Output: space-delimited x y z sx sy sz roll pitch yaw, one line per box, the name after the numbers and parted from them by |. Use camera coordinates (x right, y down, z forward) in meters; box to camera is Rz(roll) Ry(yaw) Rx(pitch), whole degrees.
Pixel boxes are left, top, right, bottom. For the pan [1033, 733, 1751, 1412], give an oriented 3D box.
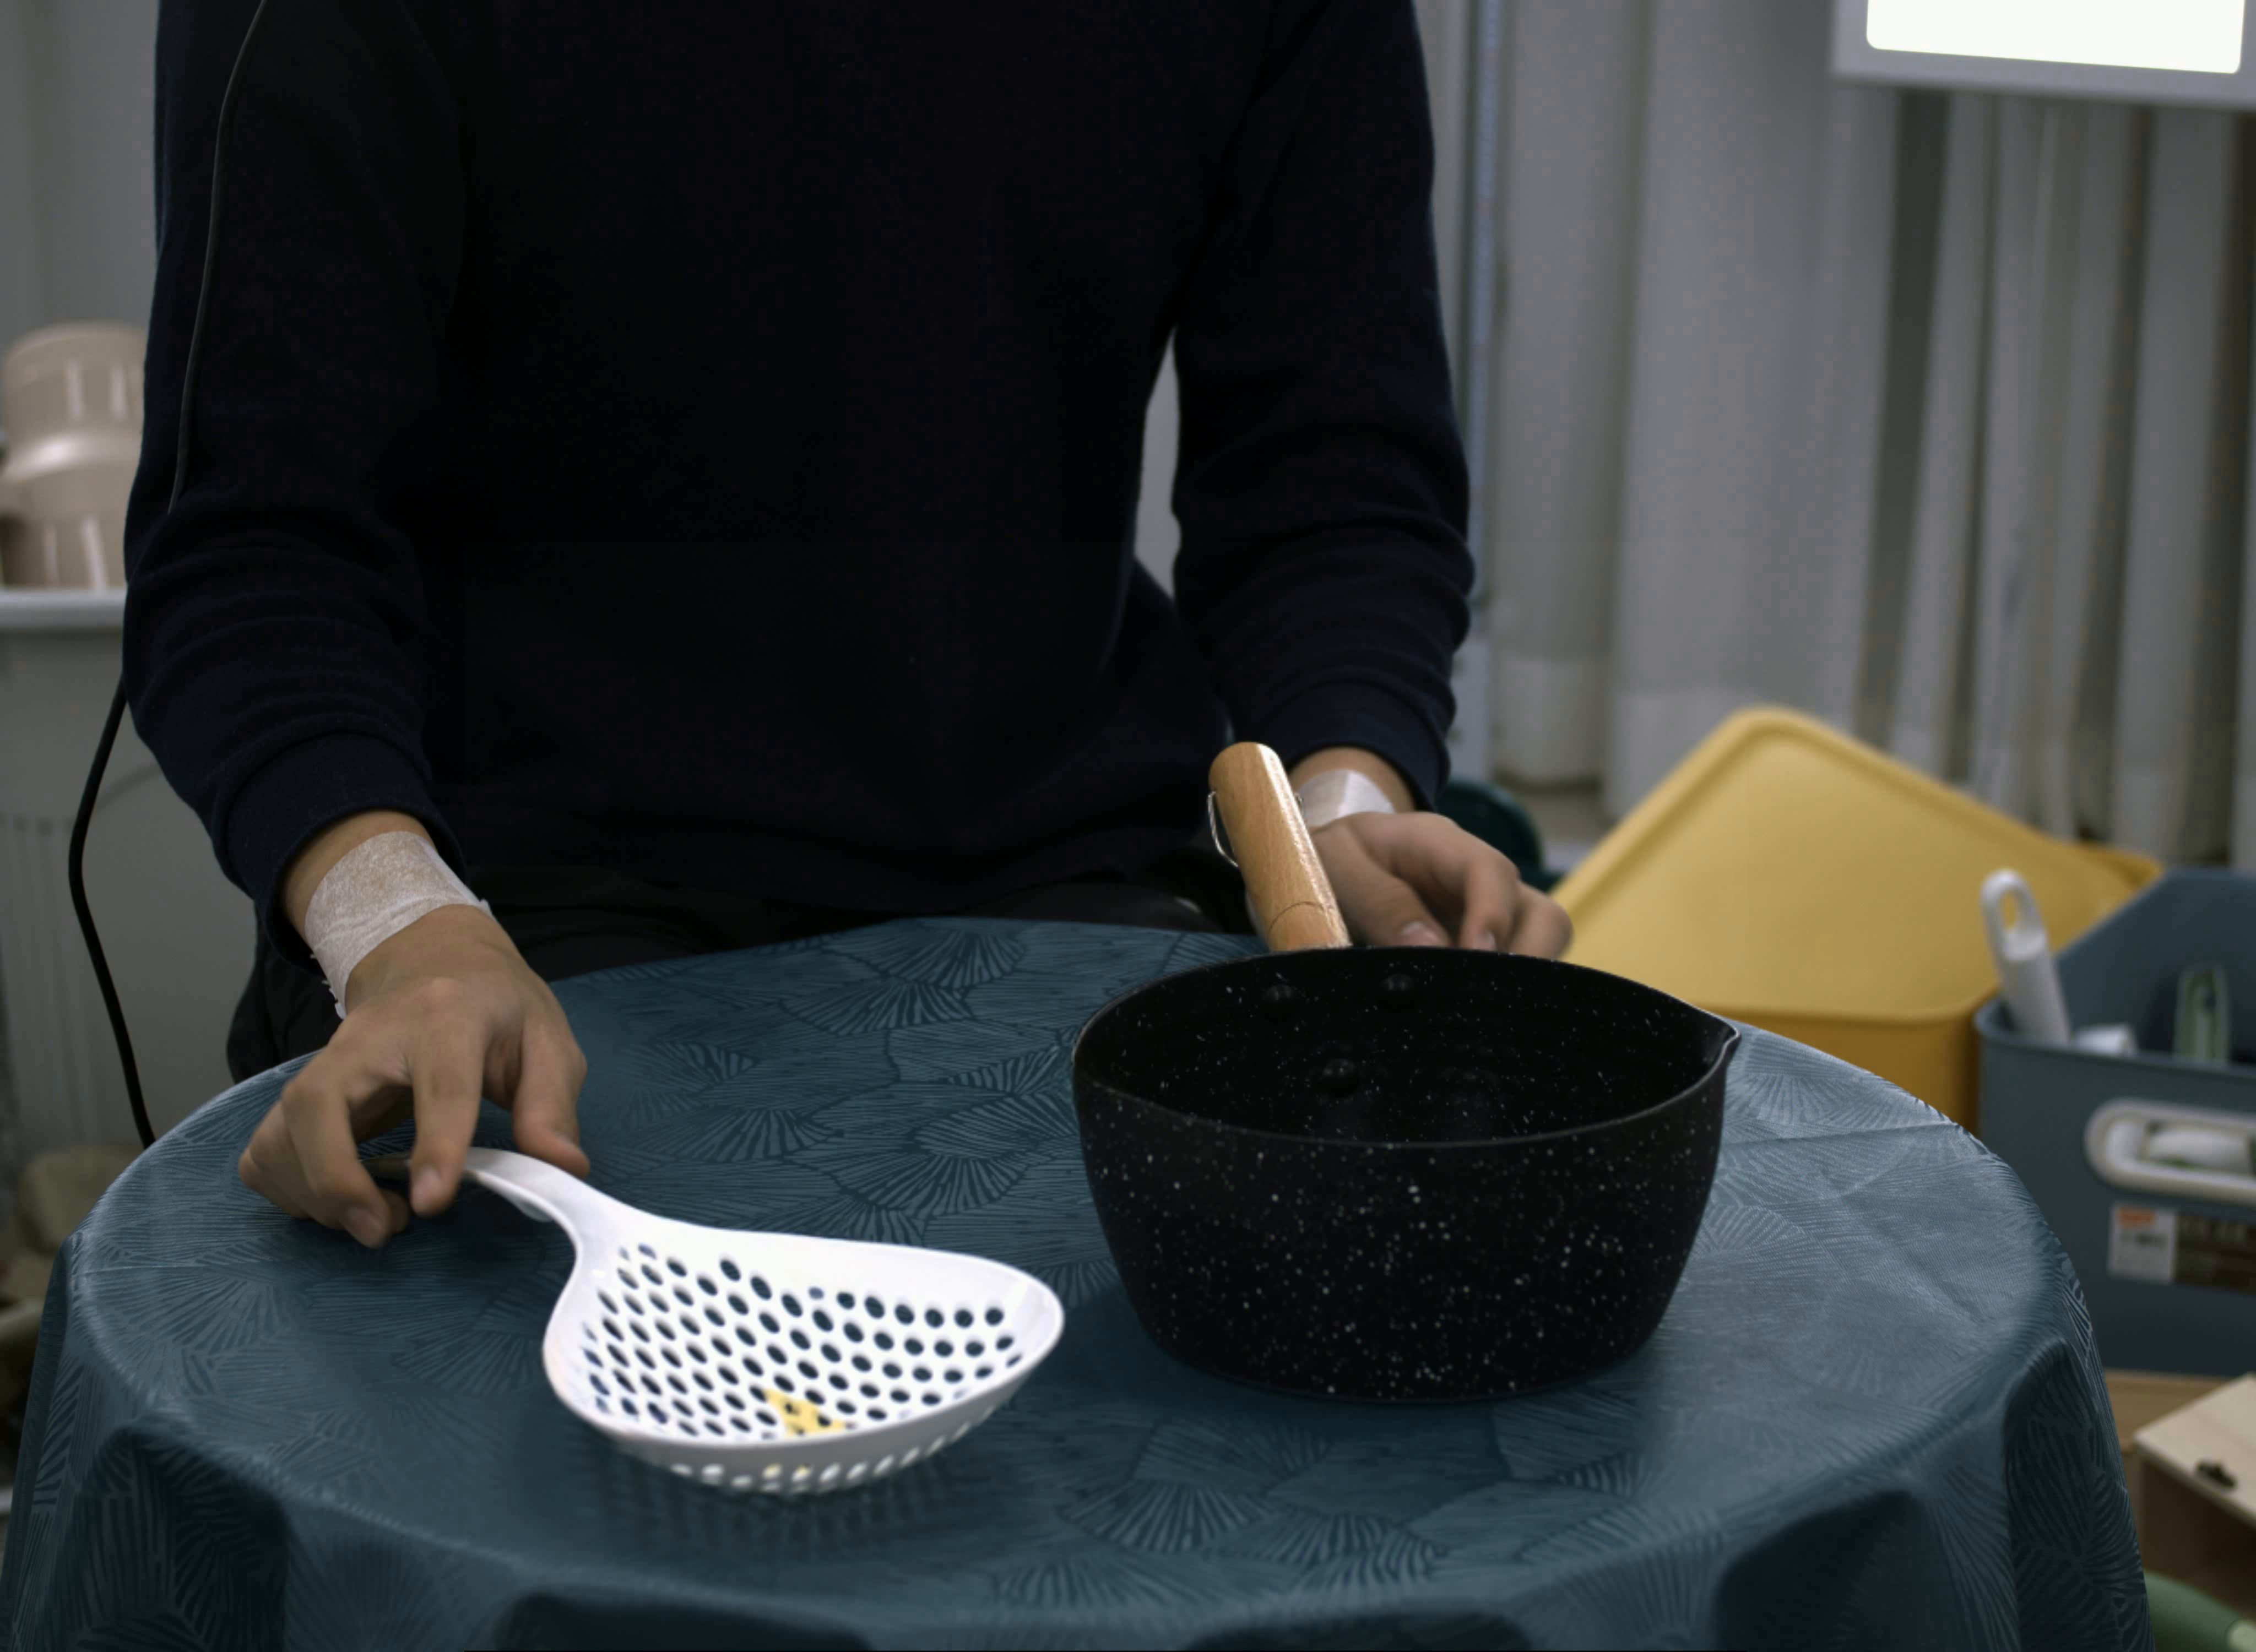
0.064 0.068 1.581 0.207 0.109 0.340 -4 17 -10 | pan

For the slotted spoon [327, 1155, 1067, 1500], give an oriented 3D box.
-0.143 0.126 1.487 0.137 0.051 0.343 -17 24 -30 | slotted spoon
